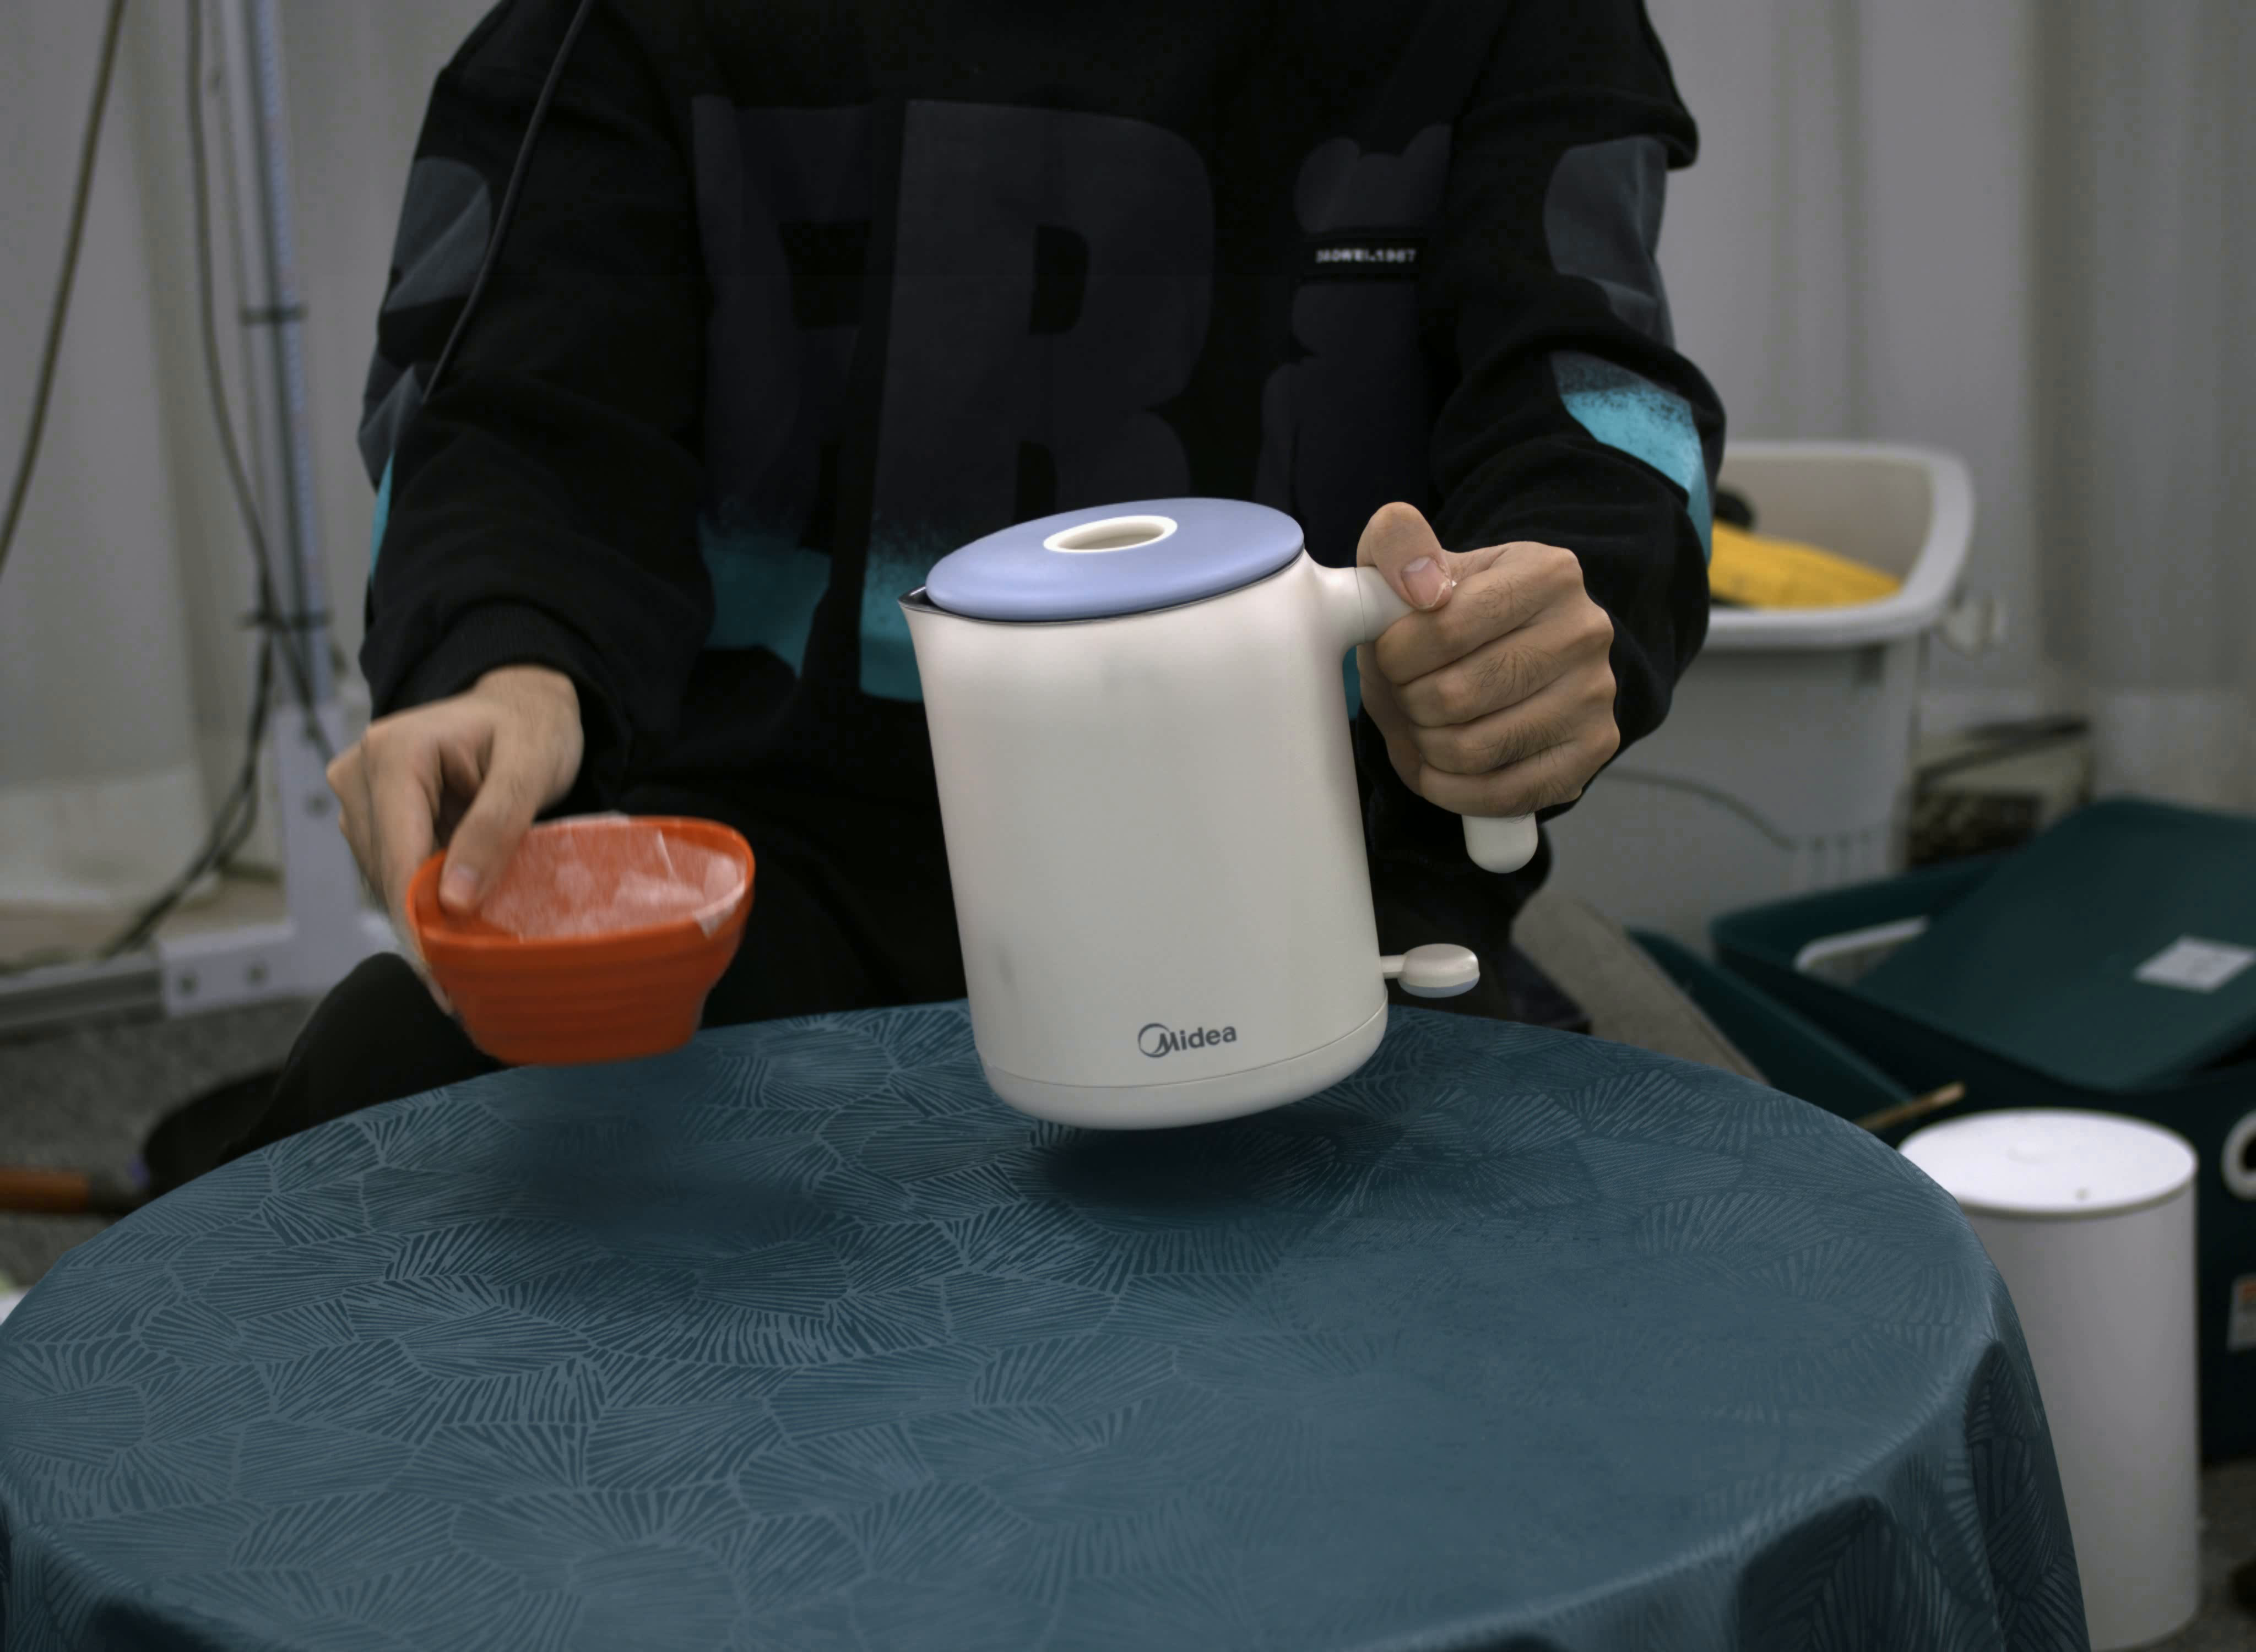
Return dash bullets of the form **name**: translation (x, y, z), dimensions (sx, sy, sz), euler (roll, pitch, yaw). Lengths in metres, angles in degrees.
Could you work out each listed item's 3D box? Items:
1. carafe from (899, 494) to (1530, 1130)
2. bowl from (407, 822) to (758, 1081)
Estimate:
- **carafe**: translation (0.031, -0.008, 1.717), dimensions (0.190, 0.181, 0.133), euler (-6, 16, -3)
- **bowl**: translation (-0.168, 0.043, 1.719), dimensions (0.118, 0.051, 0.120), euler (-5, 21, 2)
